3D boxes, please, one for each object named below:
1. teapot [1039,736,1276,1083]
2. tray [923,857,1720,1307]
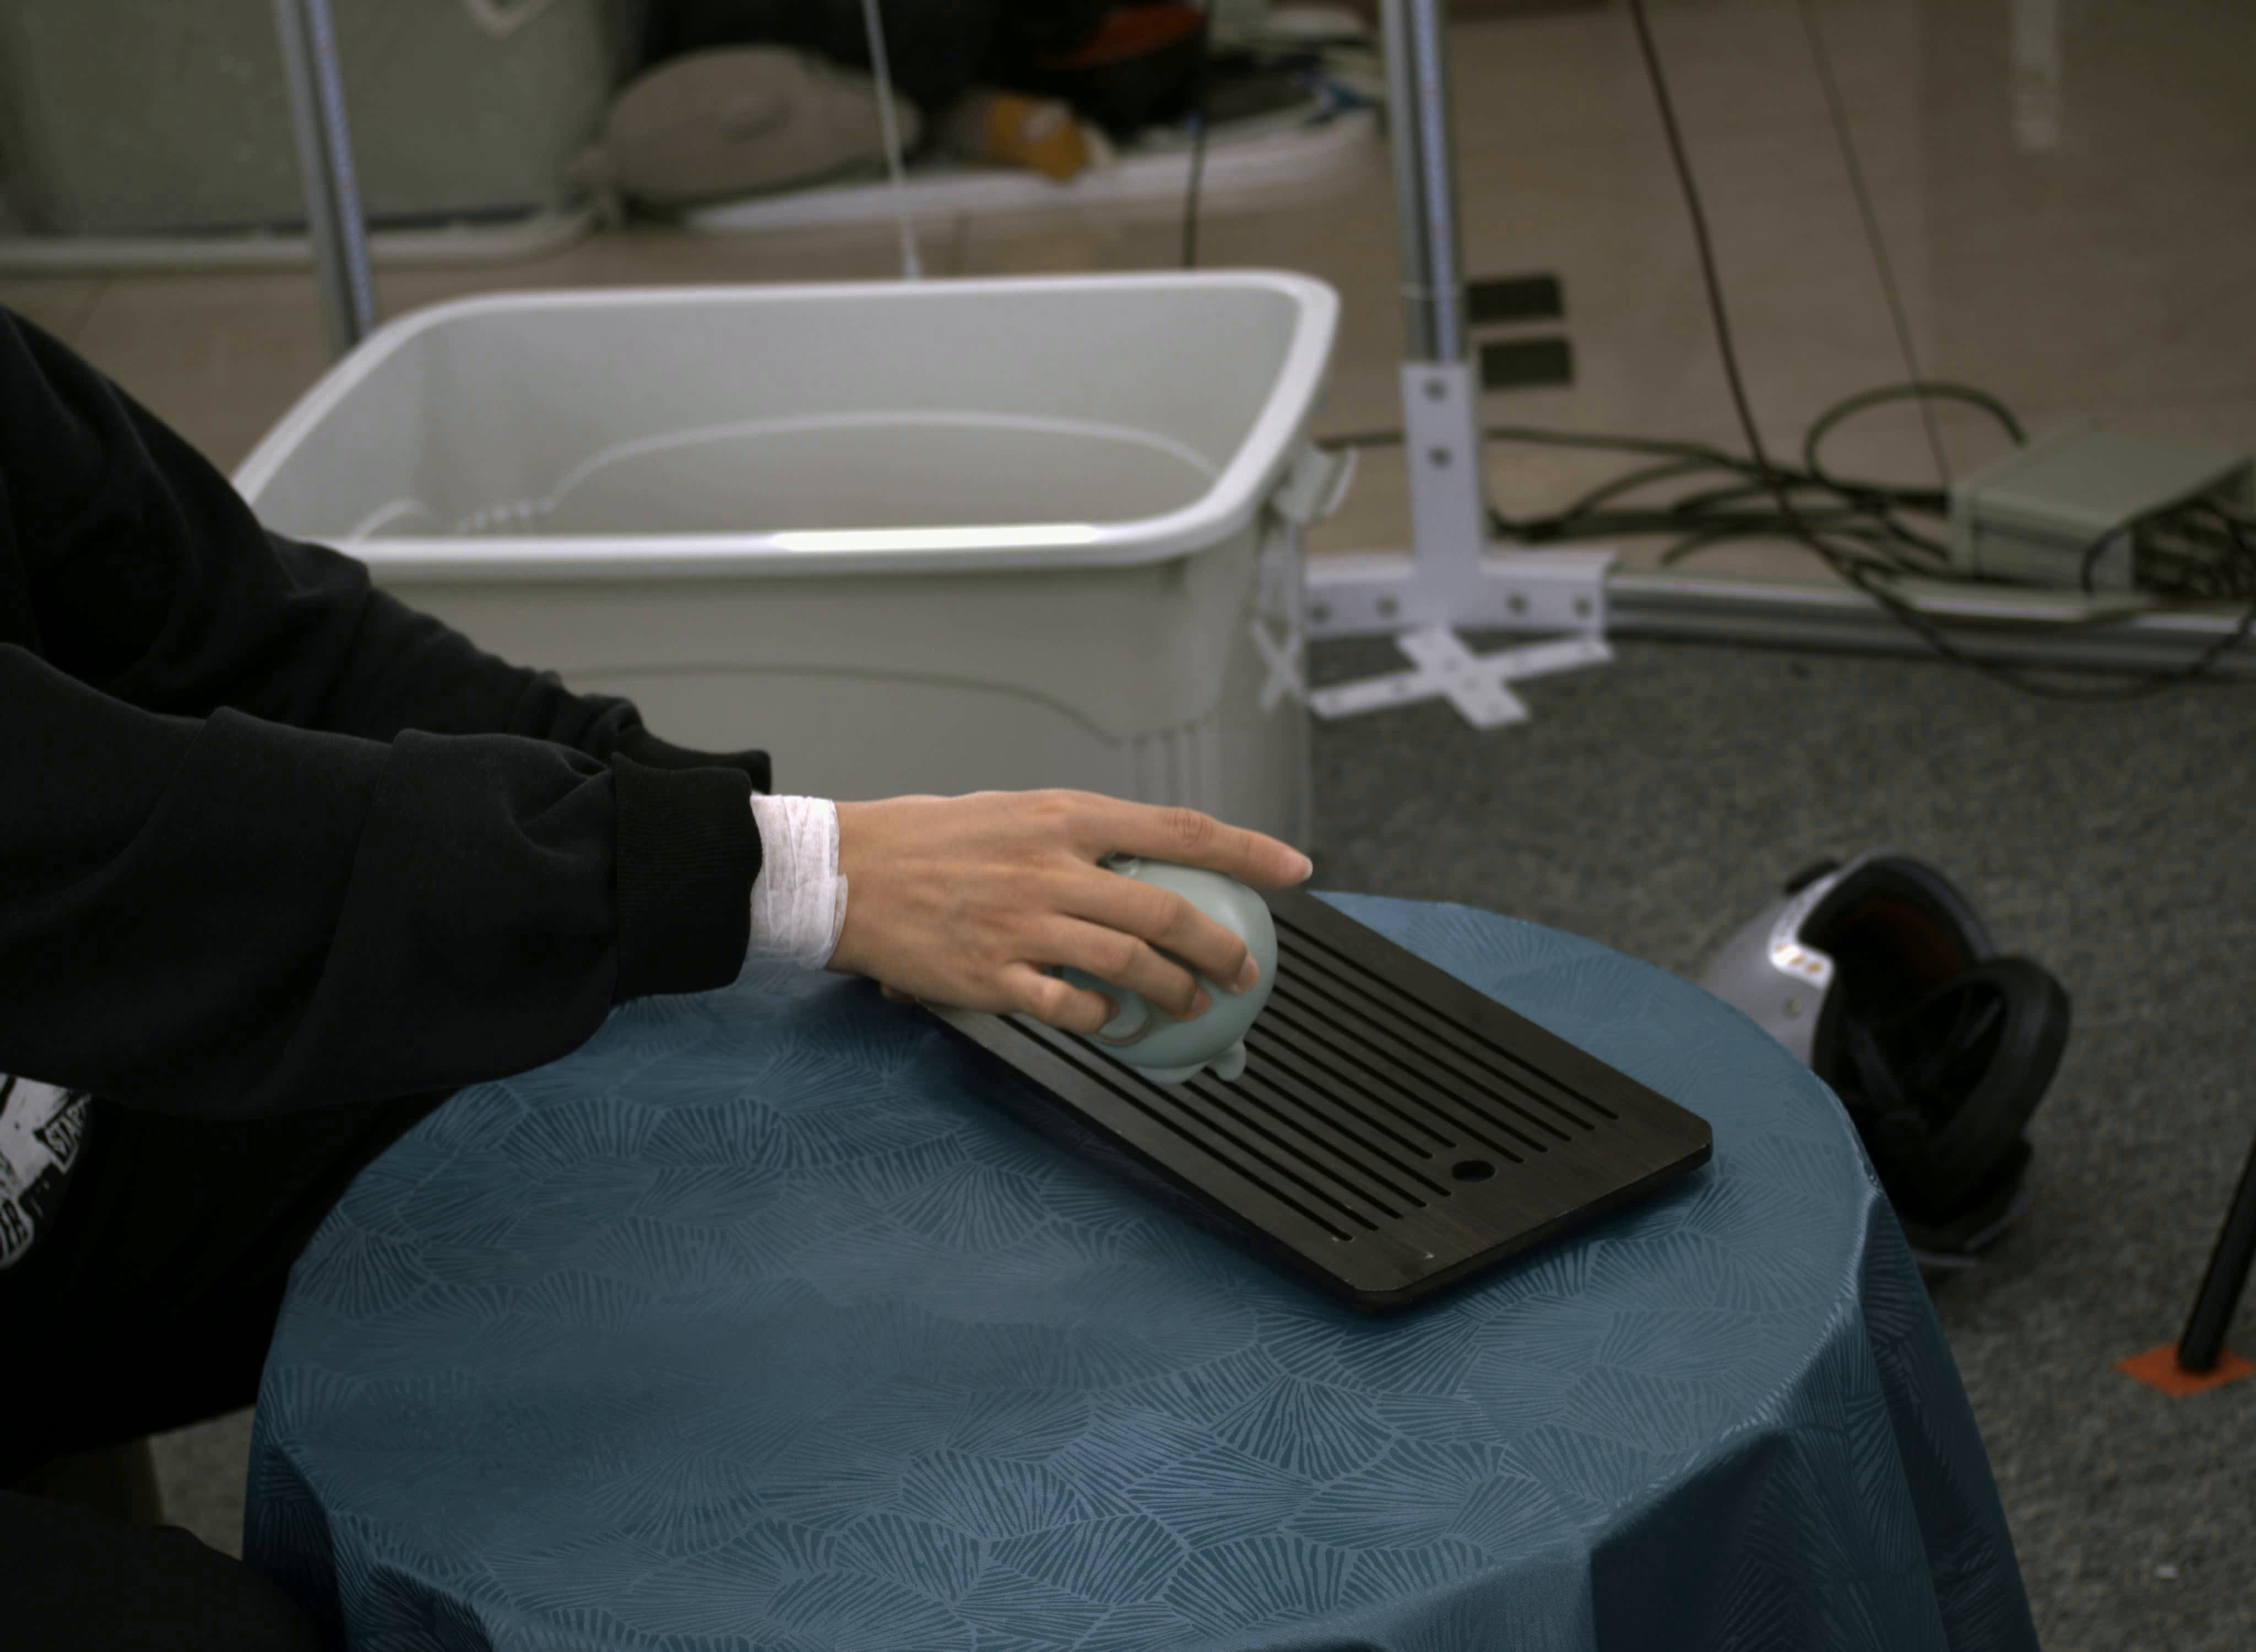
[{"bbox_3d":[0.011,0.043,2.053,0.088,0.146,0.074,12,32,36],"label":"teapot"},{"bbox_3d":[0.070,0.095,2.183,0.169,0.019,0.302,-22,33,-29],"label":"tray"}]
